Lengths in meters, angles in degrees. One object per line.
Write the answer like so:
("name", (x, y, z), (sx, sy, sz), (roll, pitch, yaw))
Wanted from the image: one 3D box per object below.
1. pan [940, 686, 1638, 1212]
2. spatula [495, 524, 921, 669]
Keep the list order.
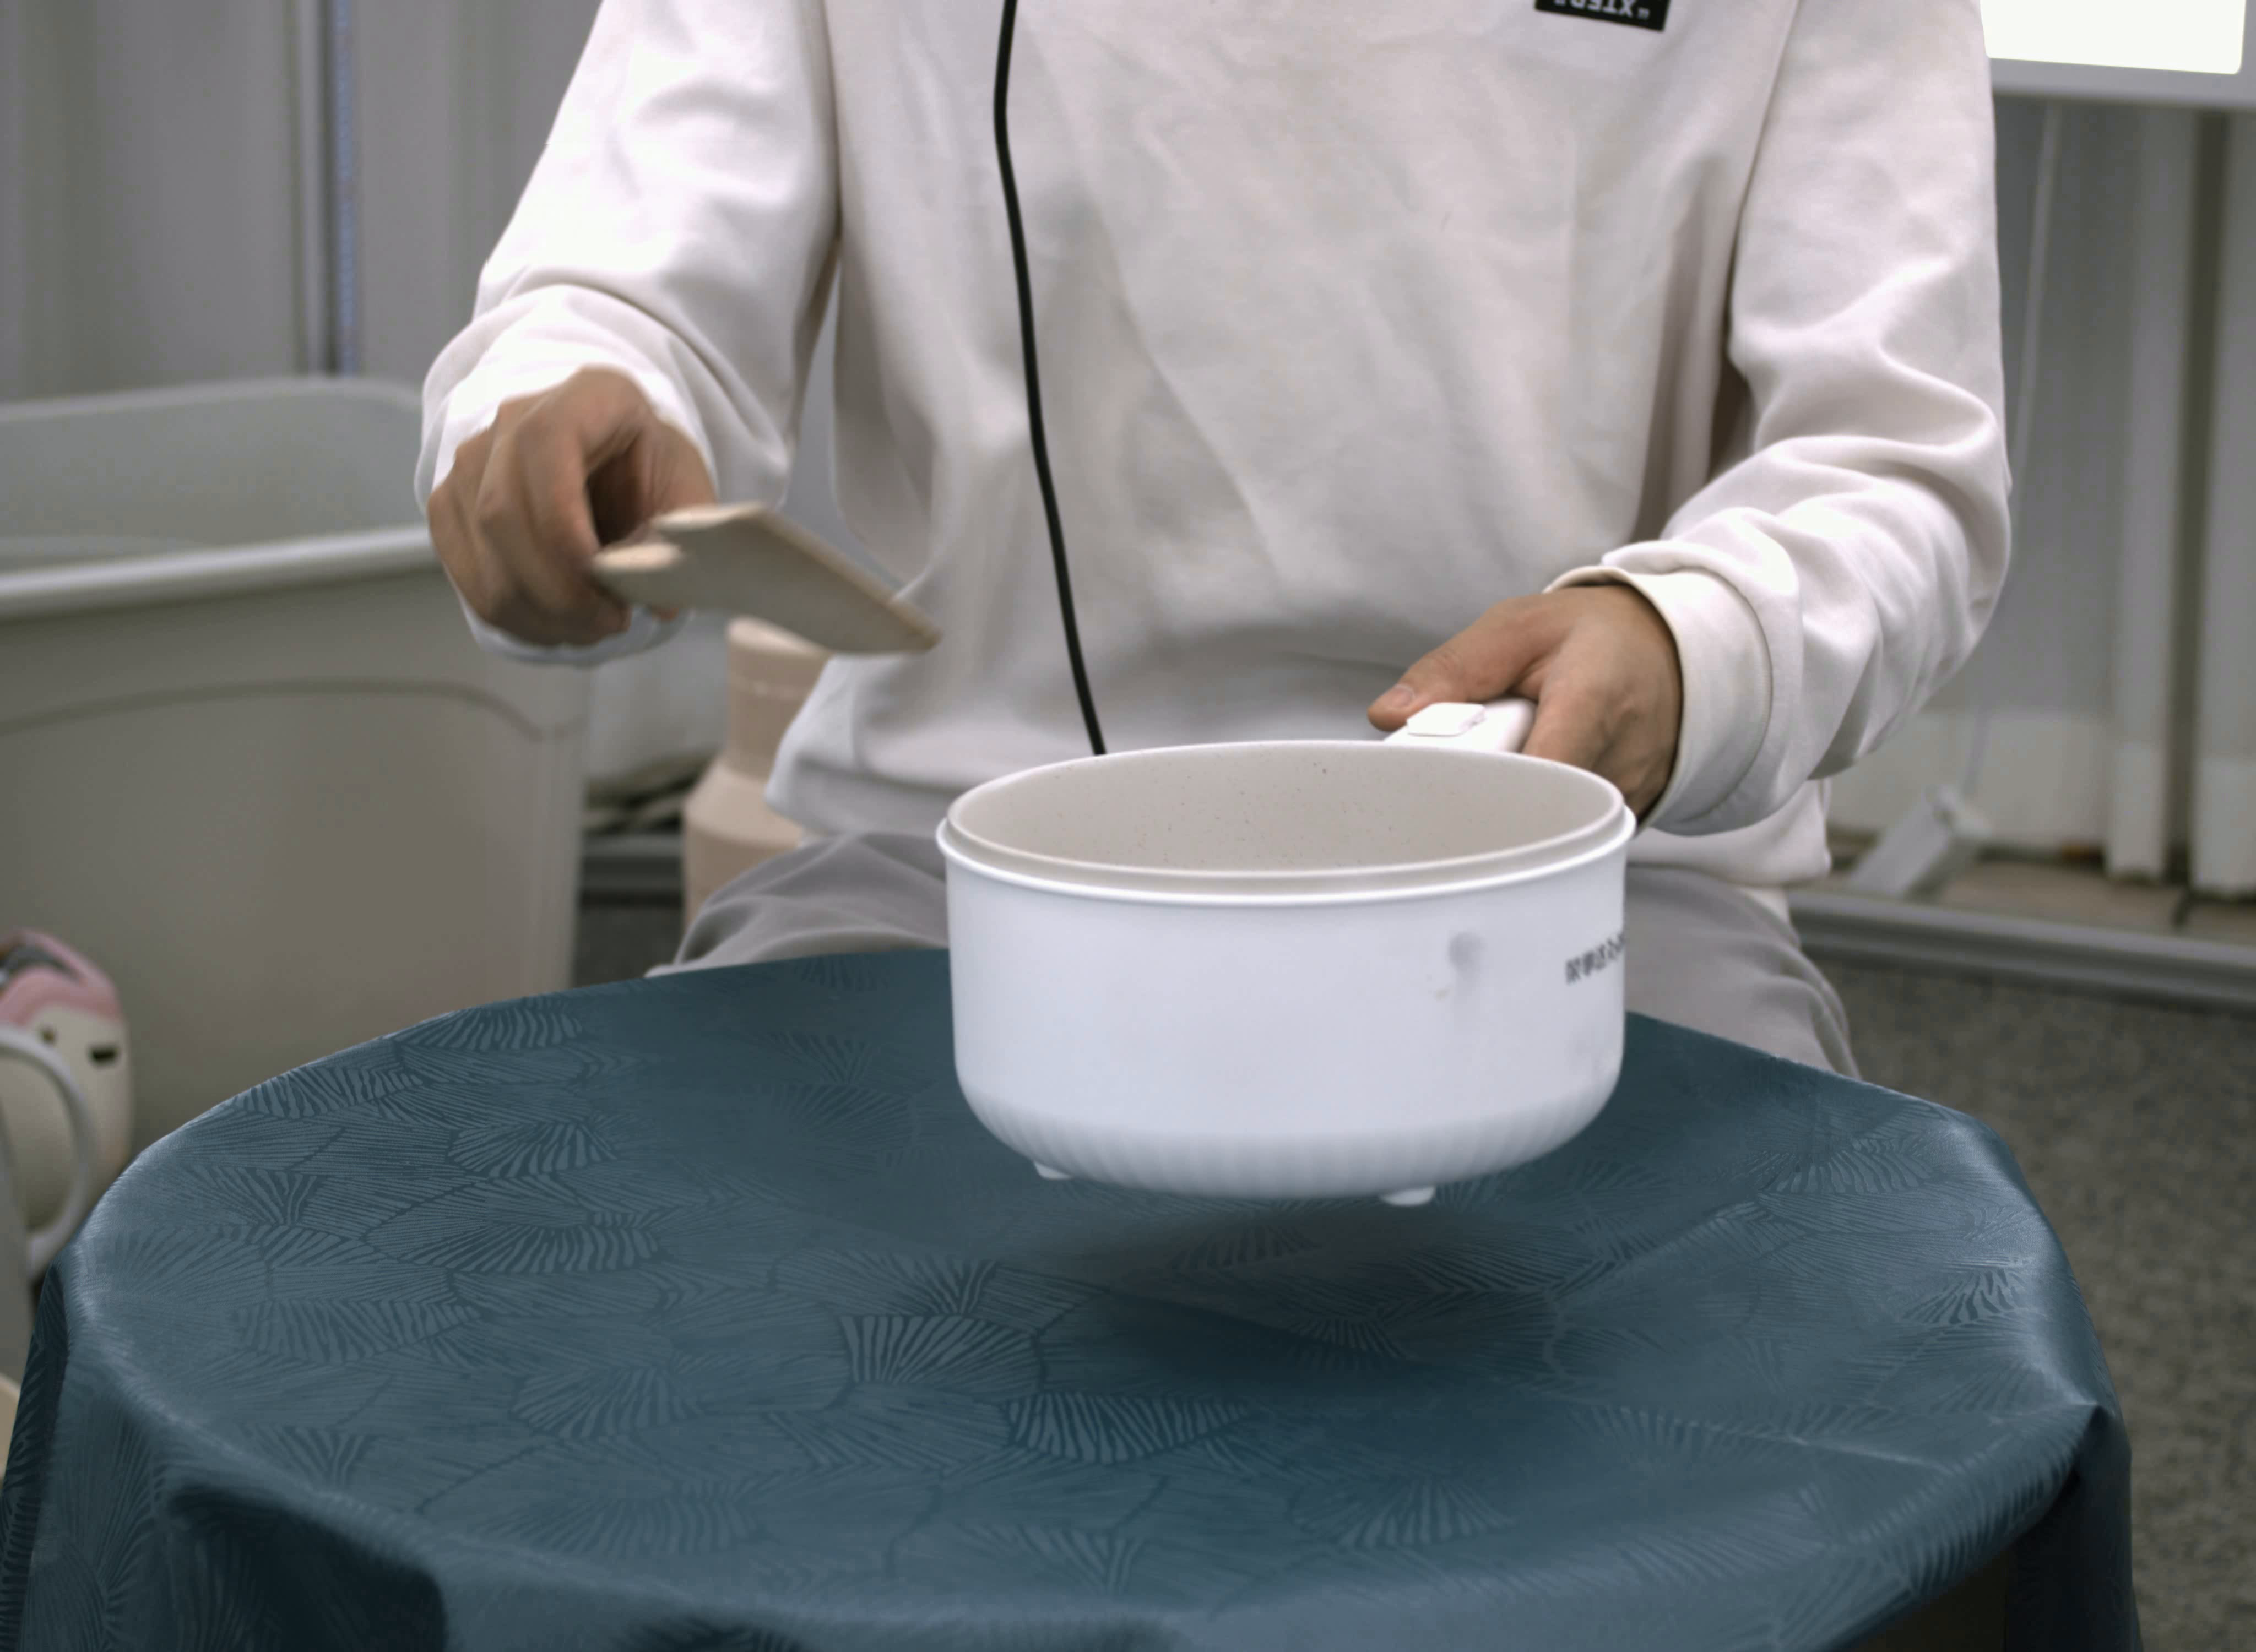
("pan", (0.073, 0.032, 1.592), (0.199, 0.103, 0.355), (2, 11, 19))
("spatula", (-0.142, -0.071, 1.597), (0.073, 0.010, 0.290), (33, -10, -22))
